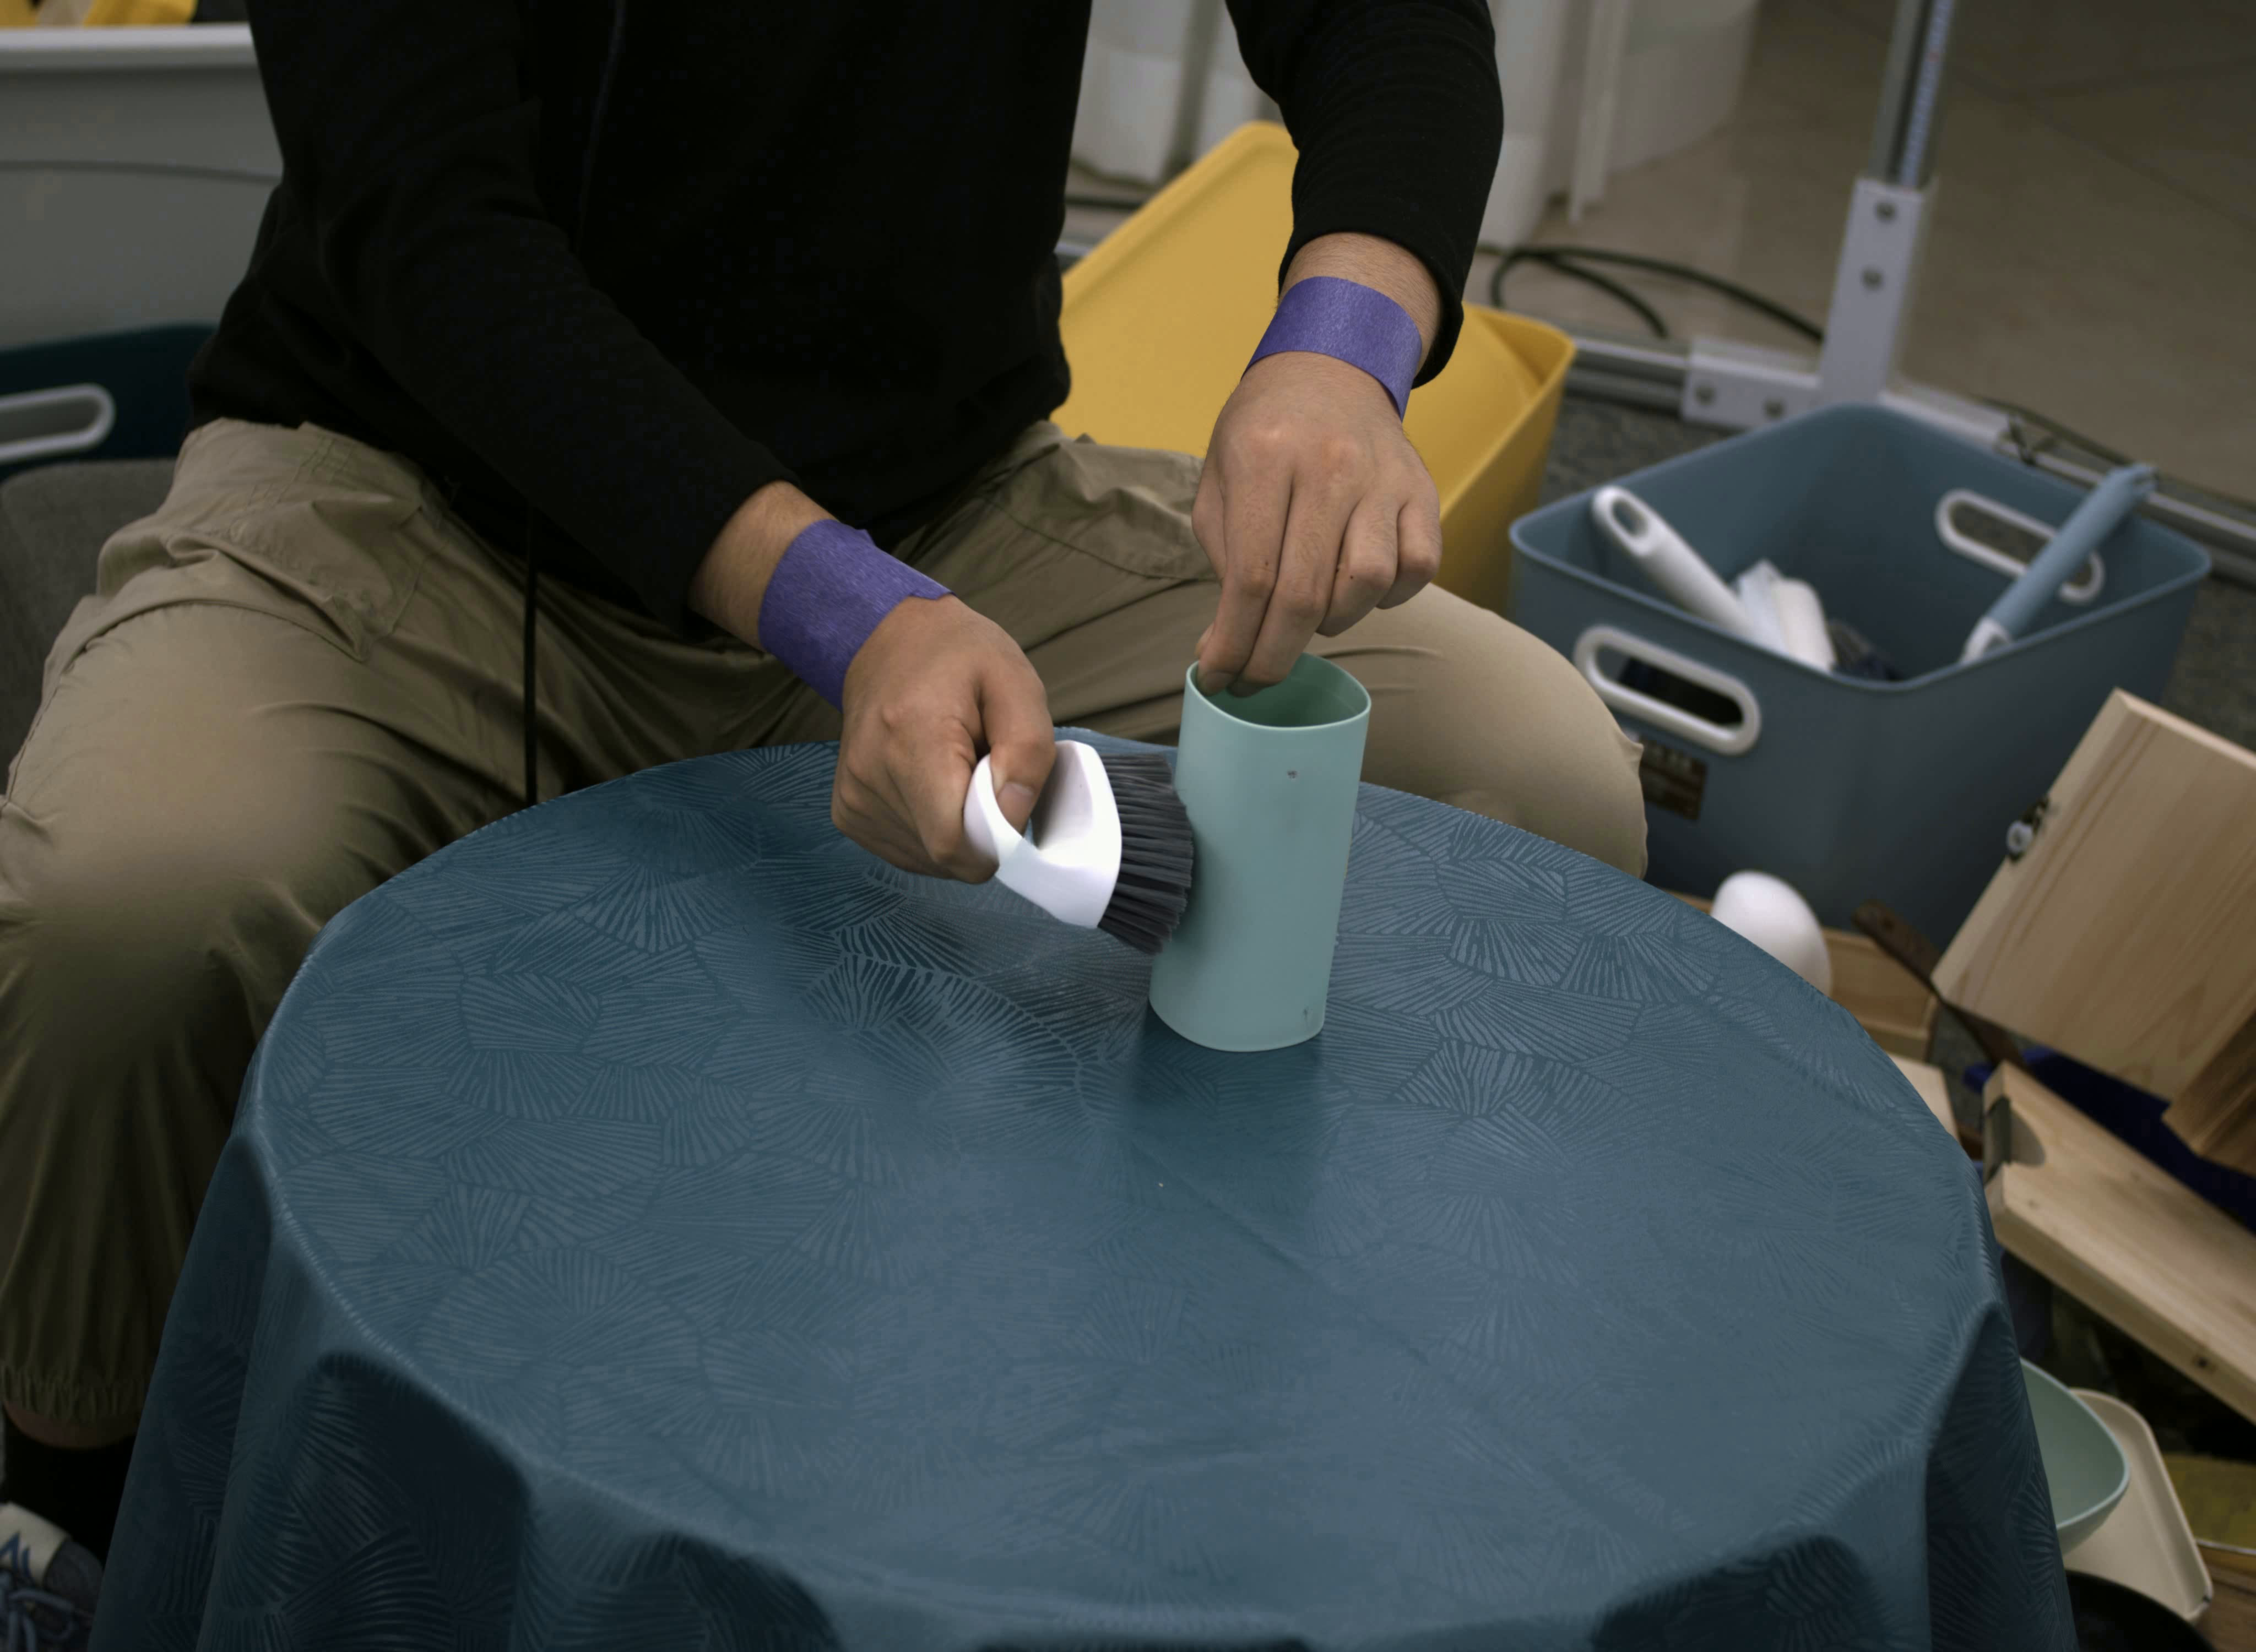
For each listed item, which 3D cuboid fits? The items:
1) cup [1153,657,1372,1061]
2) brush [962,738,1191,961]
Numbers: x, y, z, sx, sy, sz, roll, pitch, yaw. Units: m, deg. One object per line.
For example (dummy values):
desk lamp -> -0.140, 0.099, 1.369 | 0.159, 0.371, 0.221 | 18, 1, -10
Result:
cup -> 0.046, 0.012, 1.895 | 0.066, 0.132, 0.067 | 5, 27, -3
brush -> -0.023, 0.003, 1.882 | 0.072, 0.050, 0.100 | 13, 27, -15
